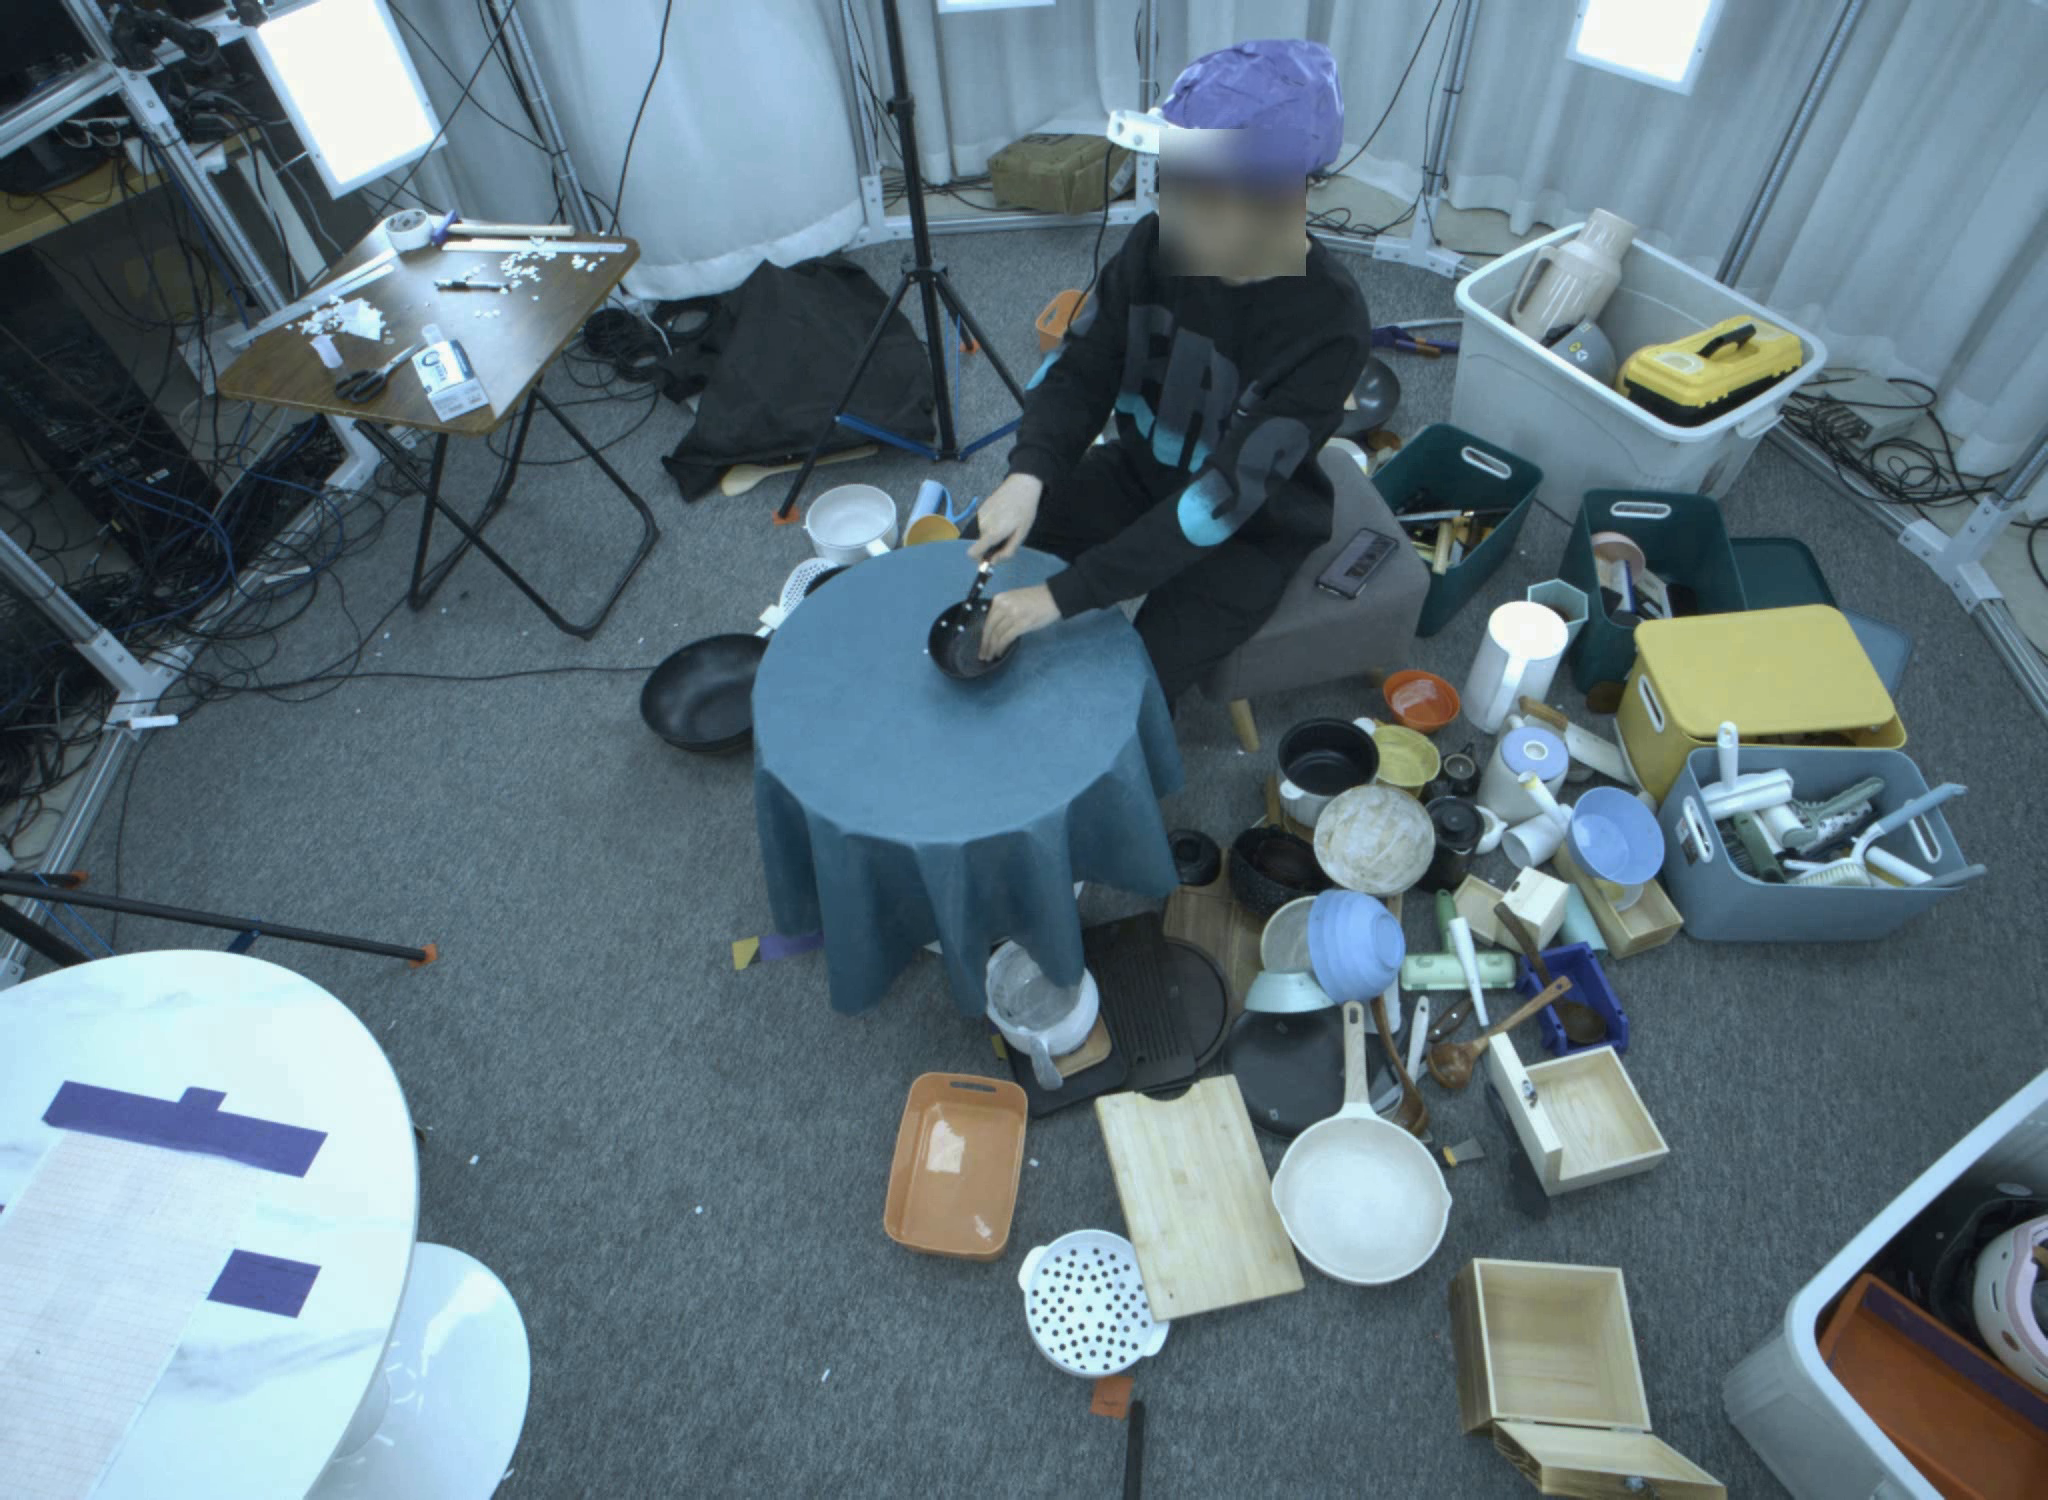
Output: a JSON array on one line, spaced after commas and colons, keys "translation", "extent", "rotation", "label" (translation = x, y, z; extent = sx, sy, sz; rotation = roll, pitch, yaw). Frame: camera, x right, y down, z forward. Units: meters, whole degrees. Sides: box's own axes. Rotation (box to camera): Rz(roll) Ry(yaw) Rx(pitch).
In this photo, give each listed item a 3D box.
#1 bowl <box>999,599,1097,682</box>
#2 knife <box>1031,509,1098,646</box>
[{"translation": [0.037, -0.158, 1.858], "extent": [0.135, 0.067, 0.171], "rotation": [23, 57, 17], "label": "bowl"}, {"translation": [0.057, -0.260, 1.845], "extent": [0.017, 0.027, 0.225], "rotation": [24, 88, 48], "label": "knife"}]
